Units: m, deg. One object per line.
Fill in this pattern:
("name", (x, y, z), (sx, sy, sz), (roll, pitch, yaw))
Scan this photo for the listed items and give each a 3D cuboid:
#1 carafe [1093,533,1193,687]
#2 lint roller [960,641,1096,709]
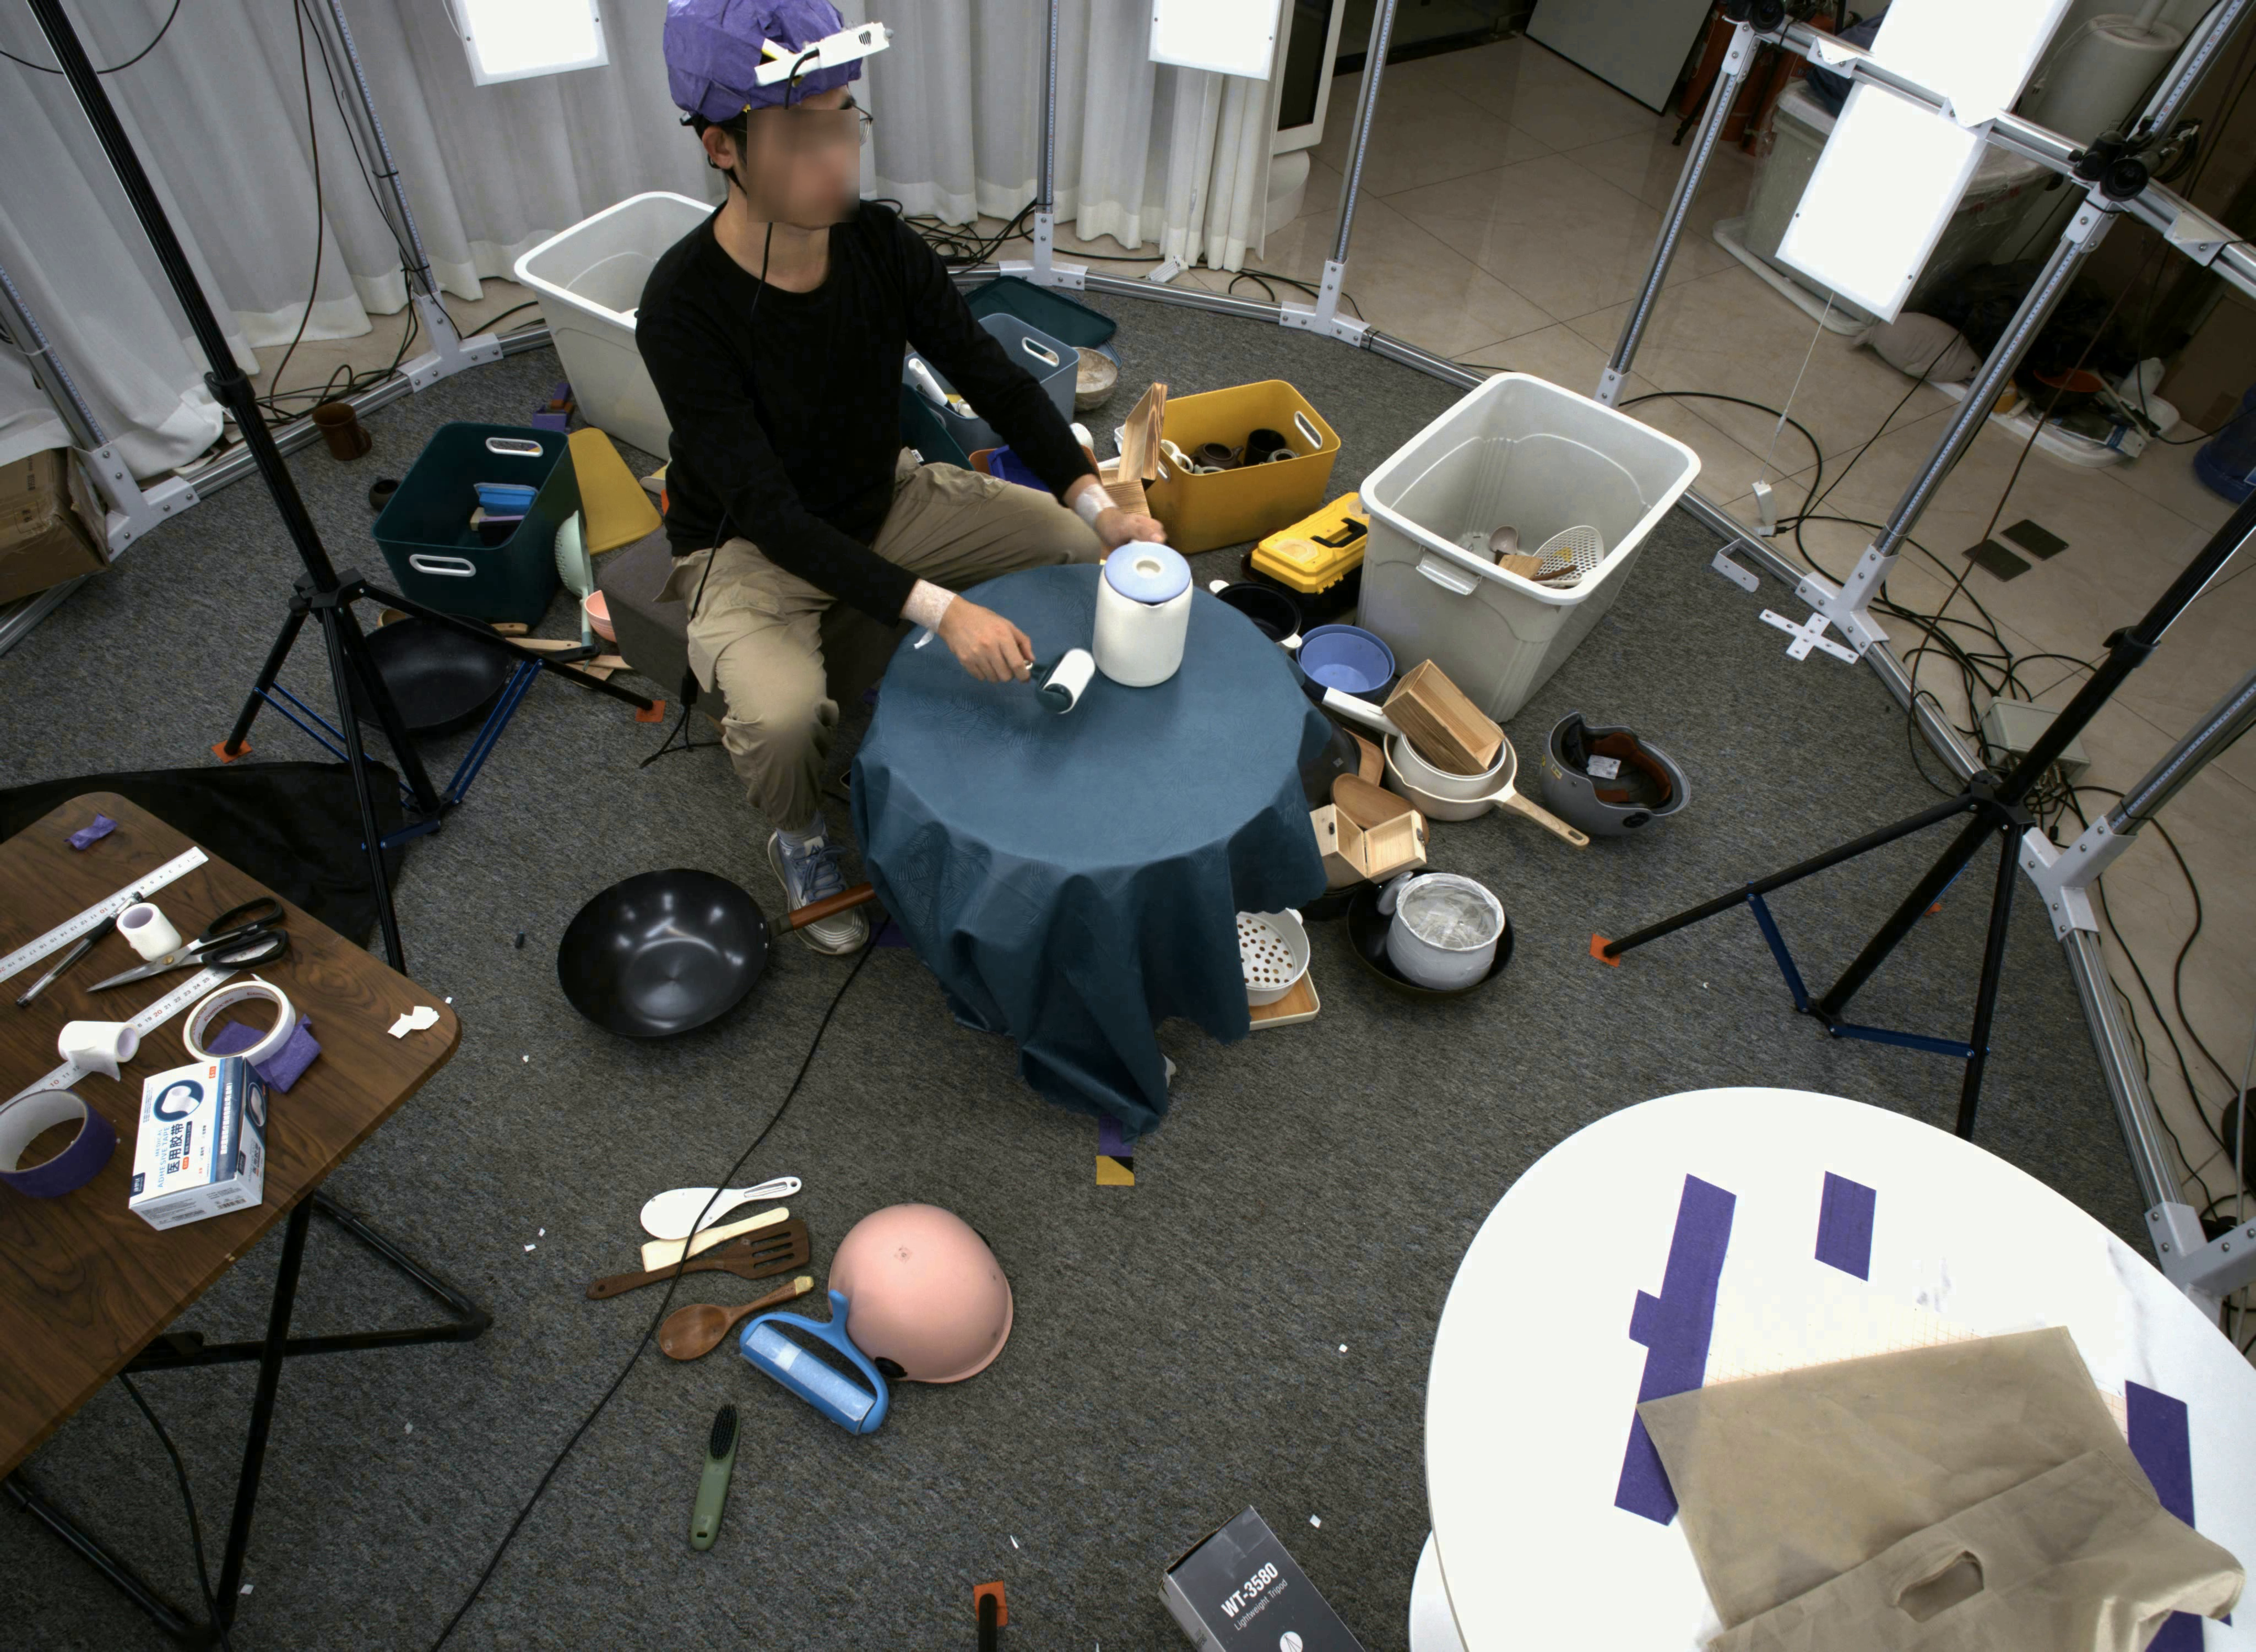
("carafe", (0.018, -0.318, 1.833), (0.132, 0.178, 0.196), (-1, 50, -7))
("lint roller", (-0.143, -0.222, 1.761), (0.180, 0.047, 0.137), (13, 42, 9))
